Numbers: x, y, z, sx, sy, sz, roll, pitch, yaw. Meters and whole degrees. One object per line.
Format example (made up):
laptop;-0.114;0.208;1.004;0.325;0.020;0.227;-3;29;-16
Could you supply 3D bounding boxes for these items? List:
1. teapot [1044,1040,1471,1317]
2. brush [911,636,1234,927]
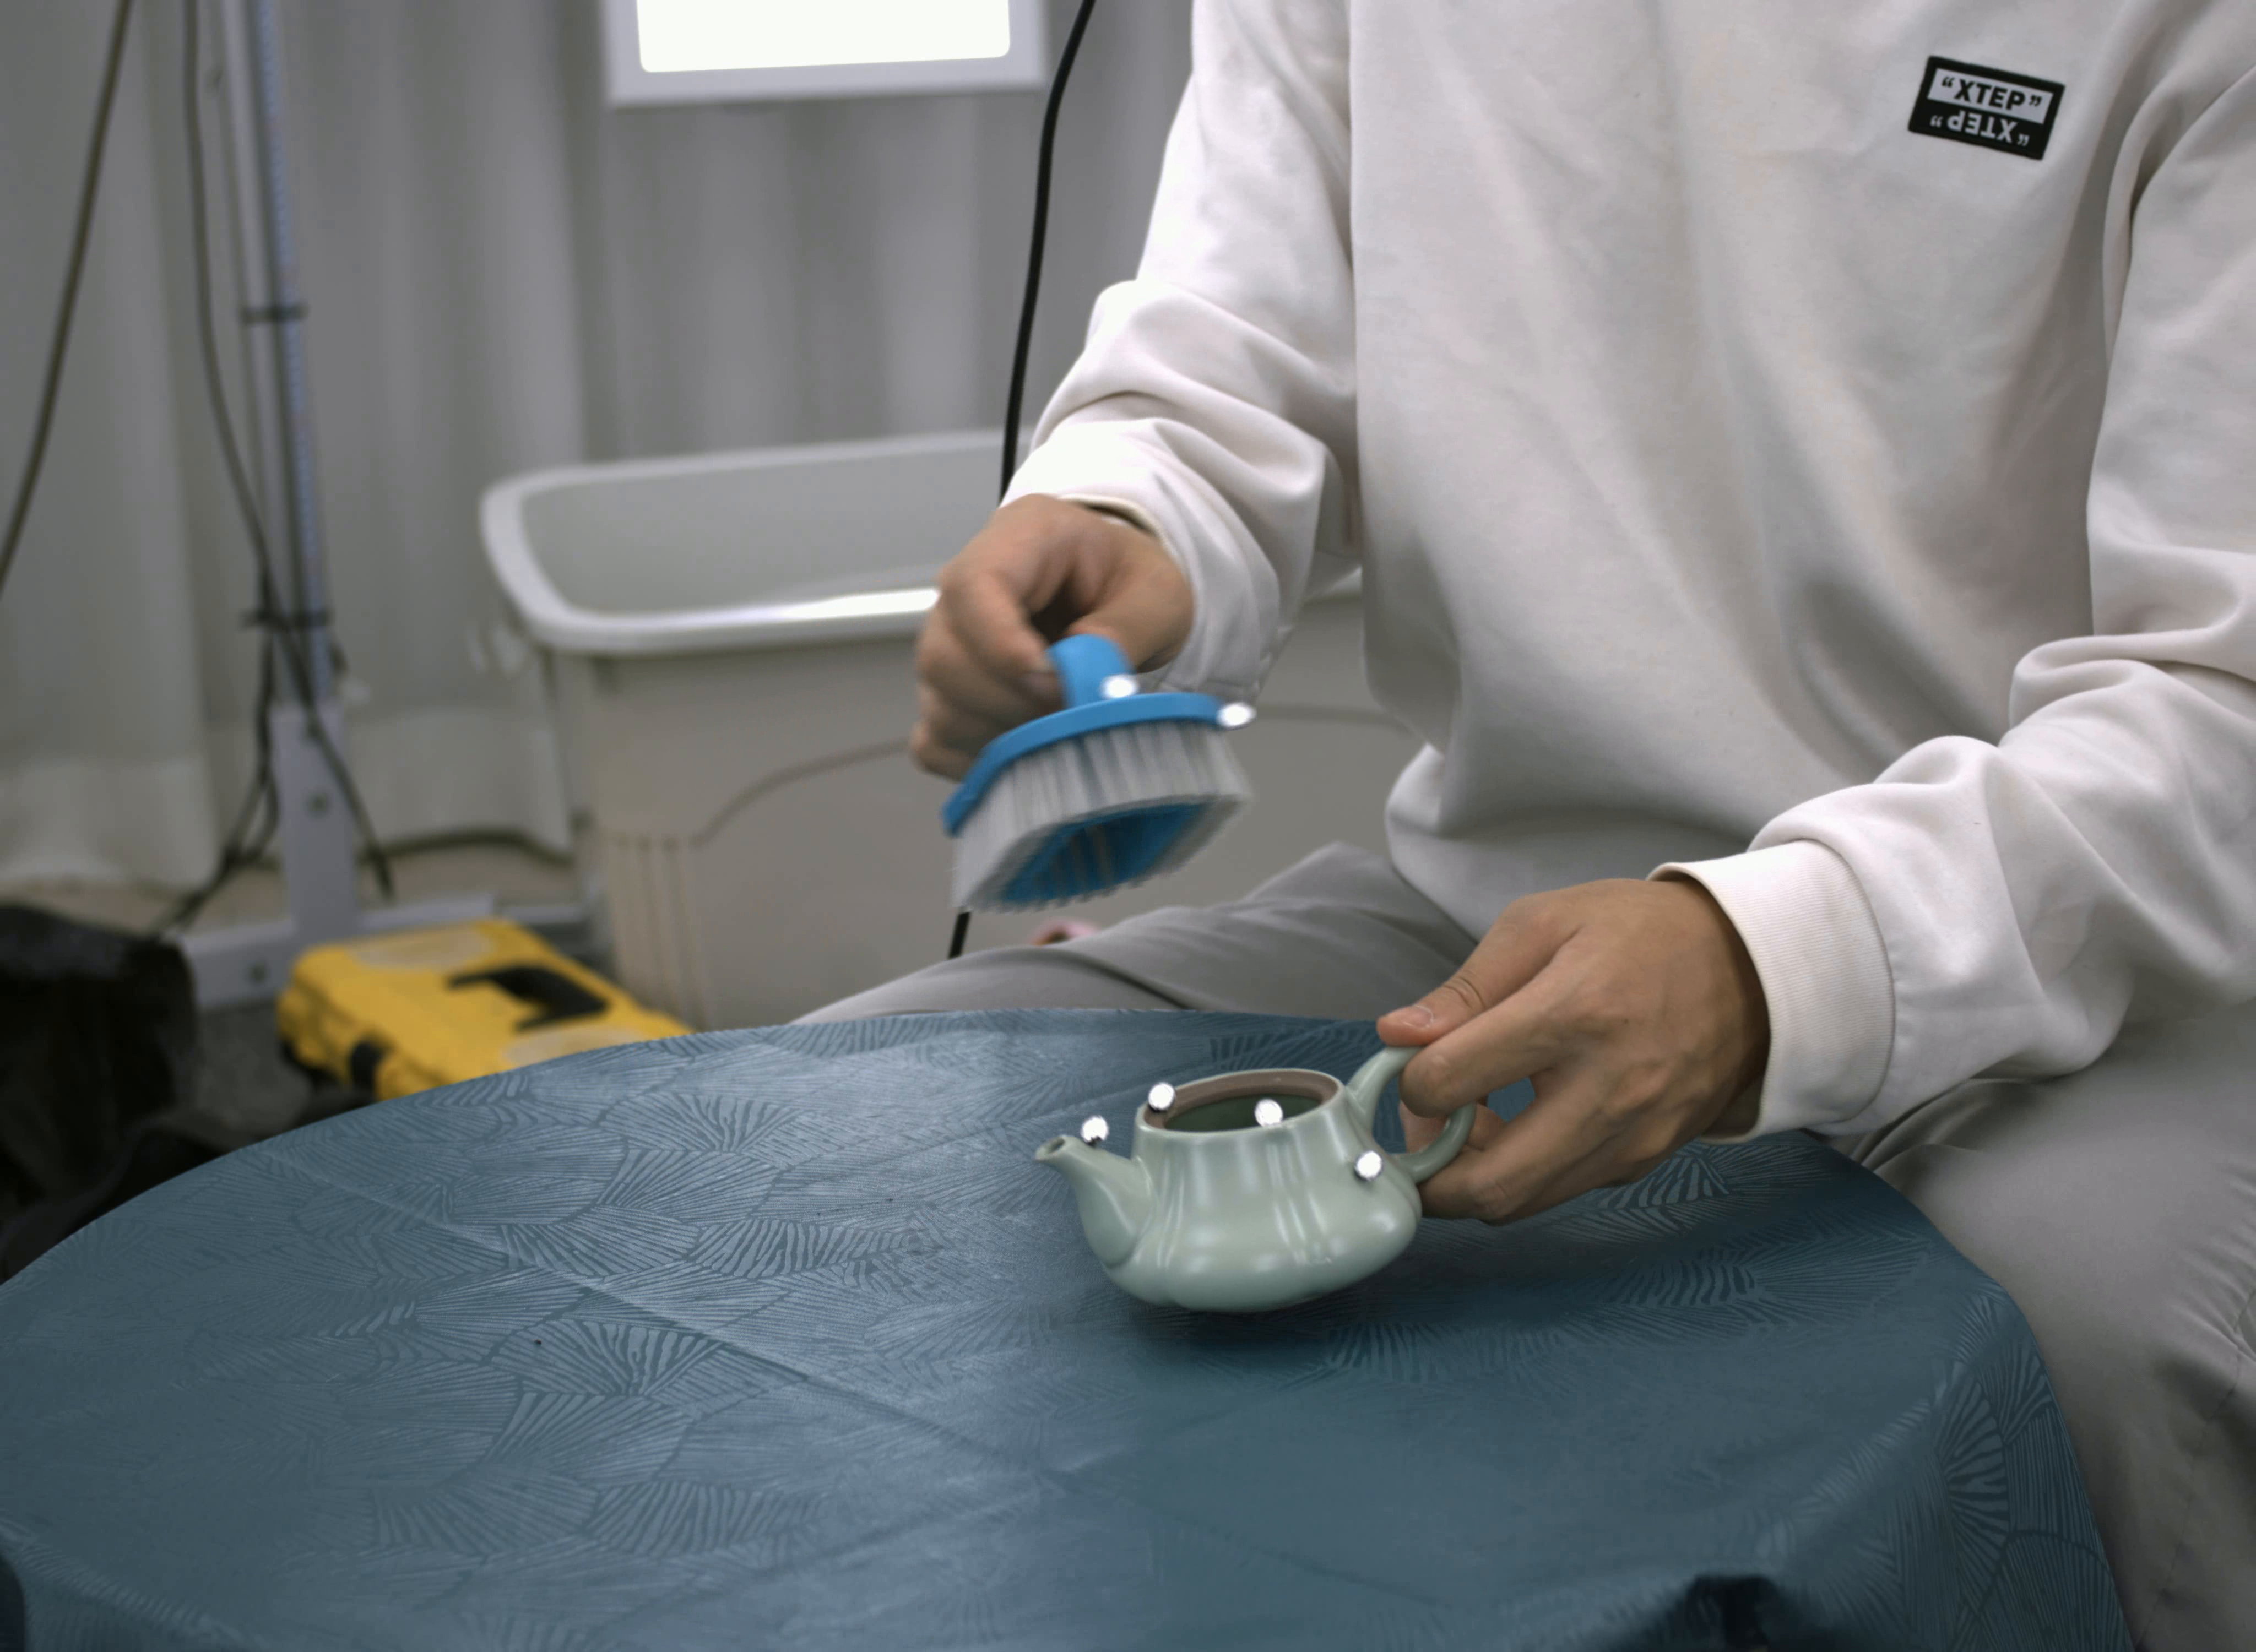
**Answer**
teapot;0.042;0.106;1.607;0.136;0.061;0.097;-15;12;-20
brush;-0.023;-0.019;1.664;0.084;0.064;0.141;-14;-13;-16
